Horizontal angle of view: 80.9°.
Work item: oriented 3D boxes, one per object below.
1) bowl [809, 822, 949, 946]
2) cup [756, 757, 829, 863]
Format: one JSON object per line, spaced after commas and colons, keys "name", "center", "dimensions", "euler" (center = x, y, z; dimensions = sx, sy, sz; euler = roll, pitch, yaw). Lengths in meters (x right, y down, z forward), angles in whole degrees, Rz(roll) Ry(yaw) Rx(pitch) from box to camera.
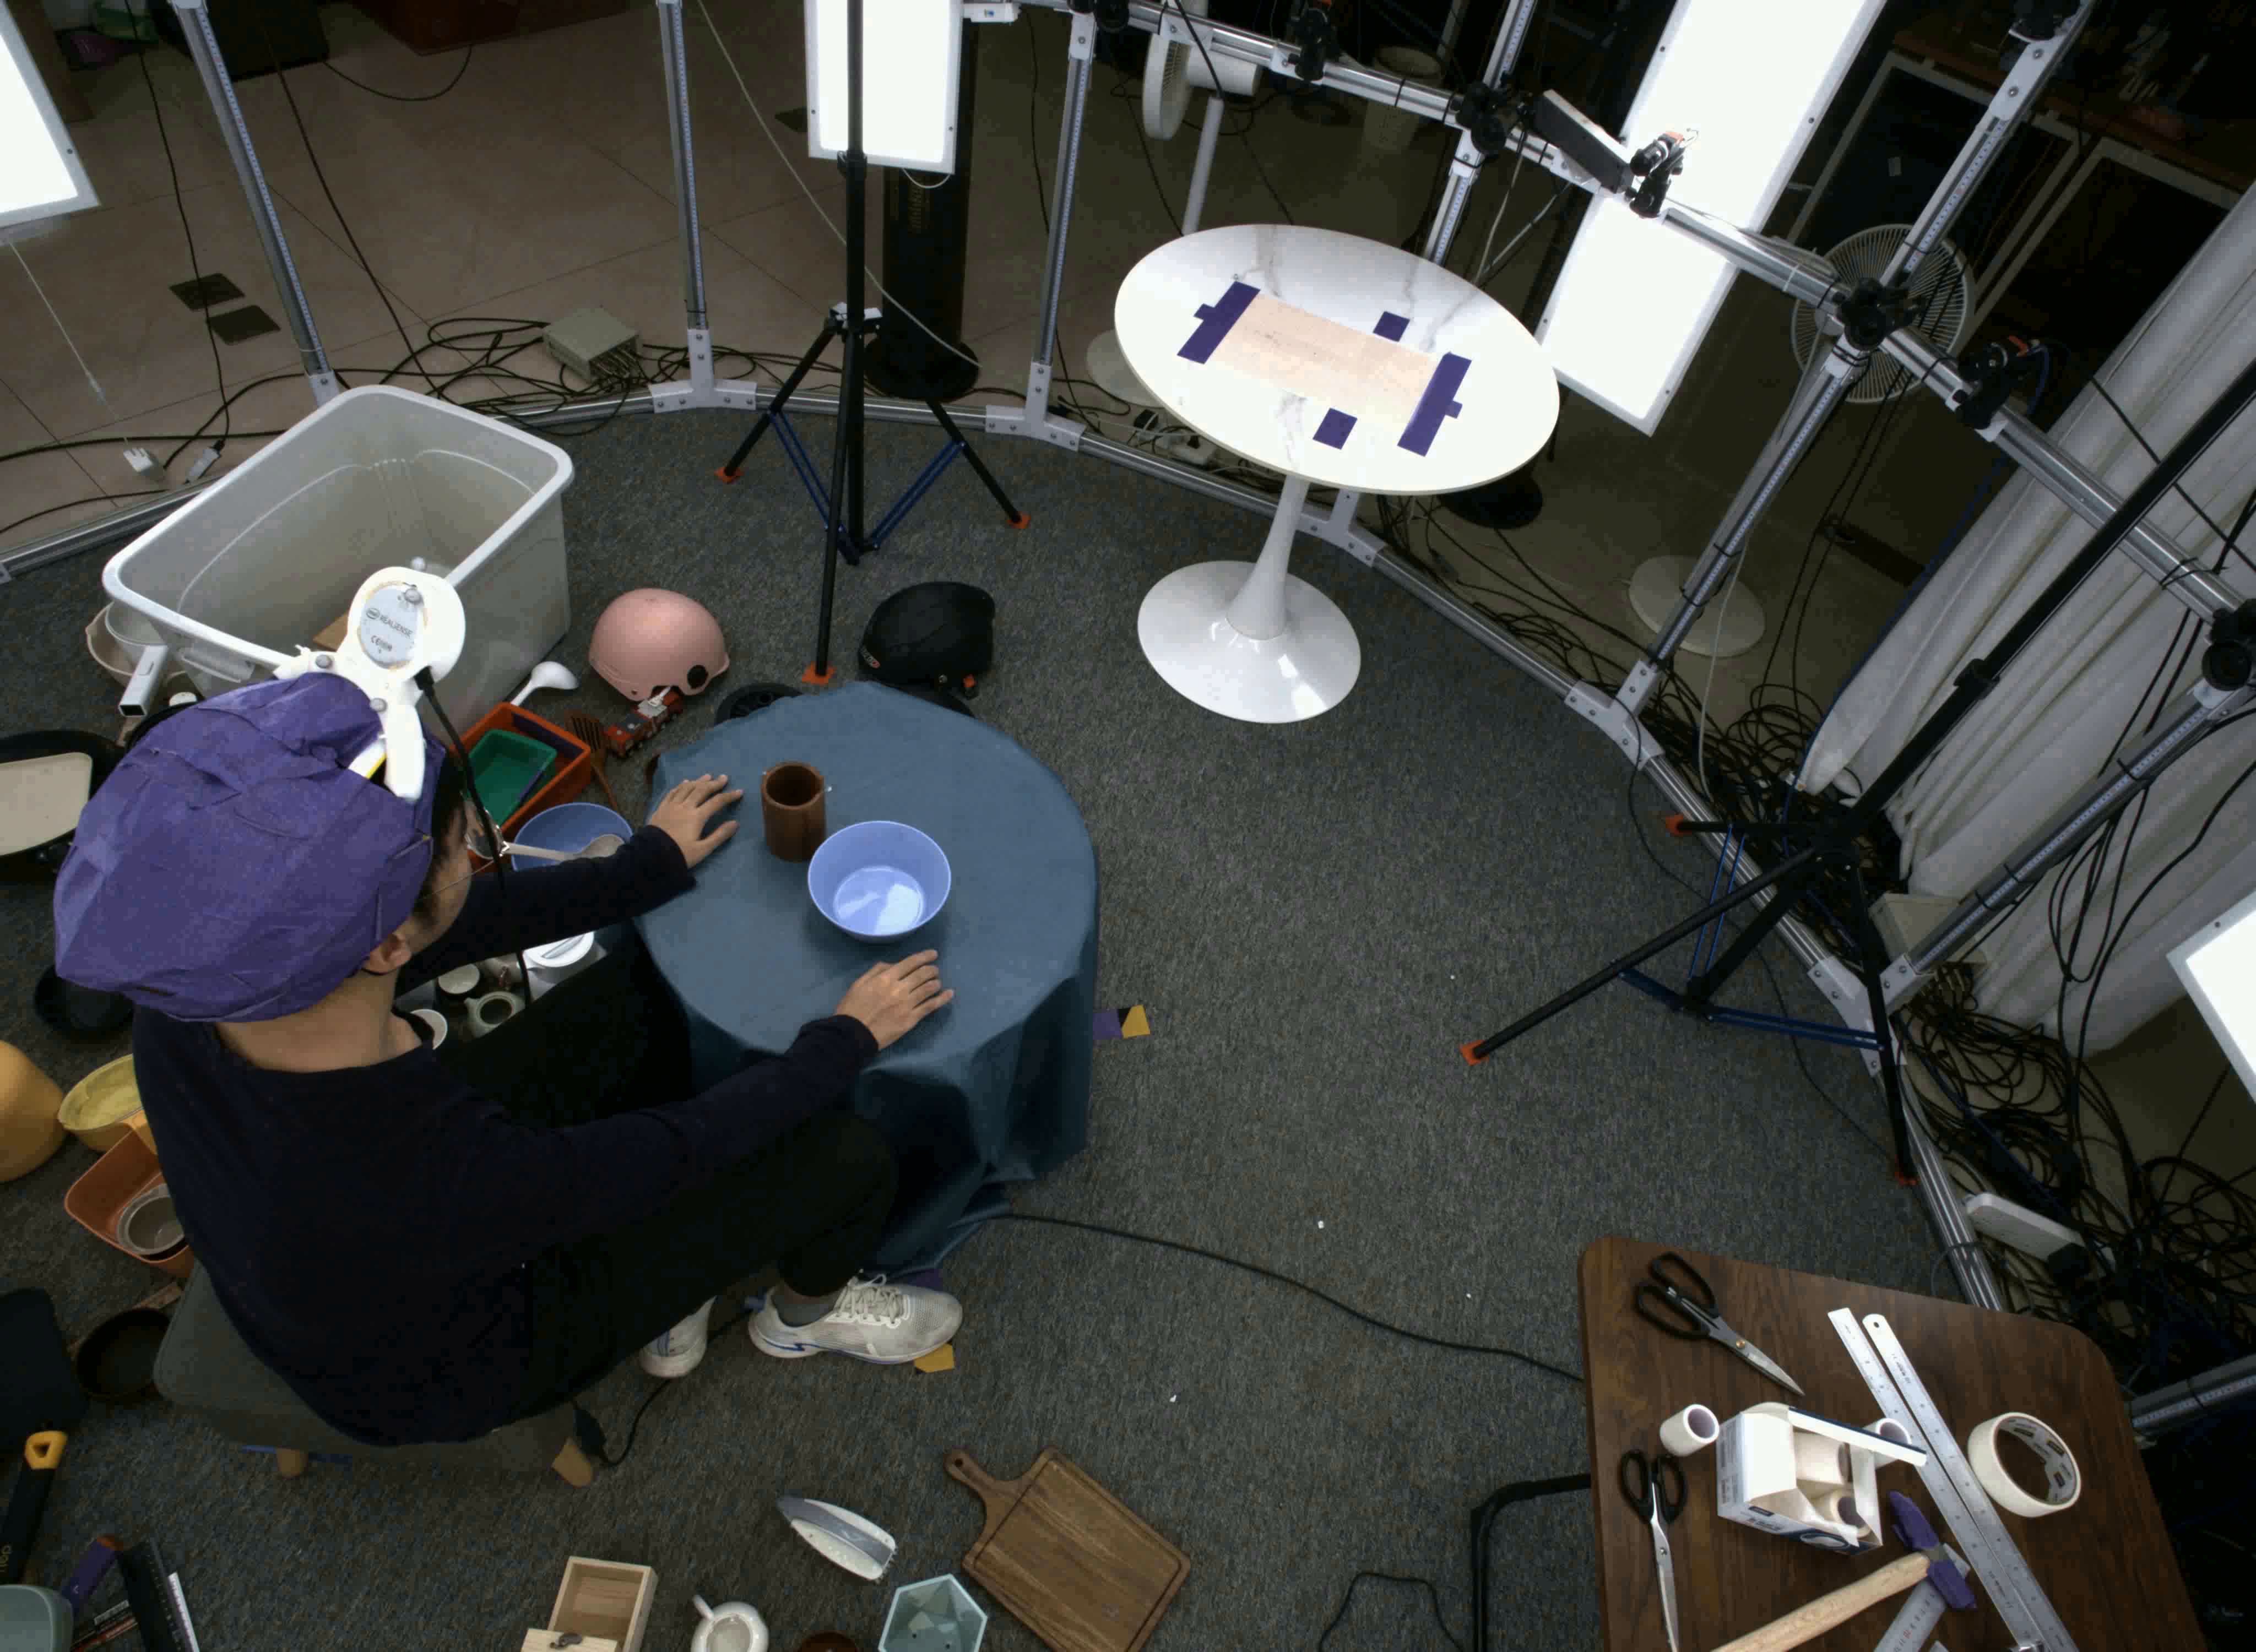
{"name": "bowl", "center": [-0.314, 0.083, 1.646], "dimensions": [0.175, 0.072, 0.173], "euler": [7, 53, -7]}
{"name": "cup", "center": [-0.427, -0.020, 1.665], "dimensions": [0.087, 0.121, 0.086], "euler": [5, 53, -5]}
